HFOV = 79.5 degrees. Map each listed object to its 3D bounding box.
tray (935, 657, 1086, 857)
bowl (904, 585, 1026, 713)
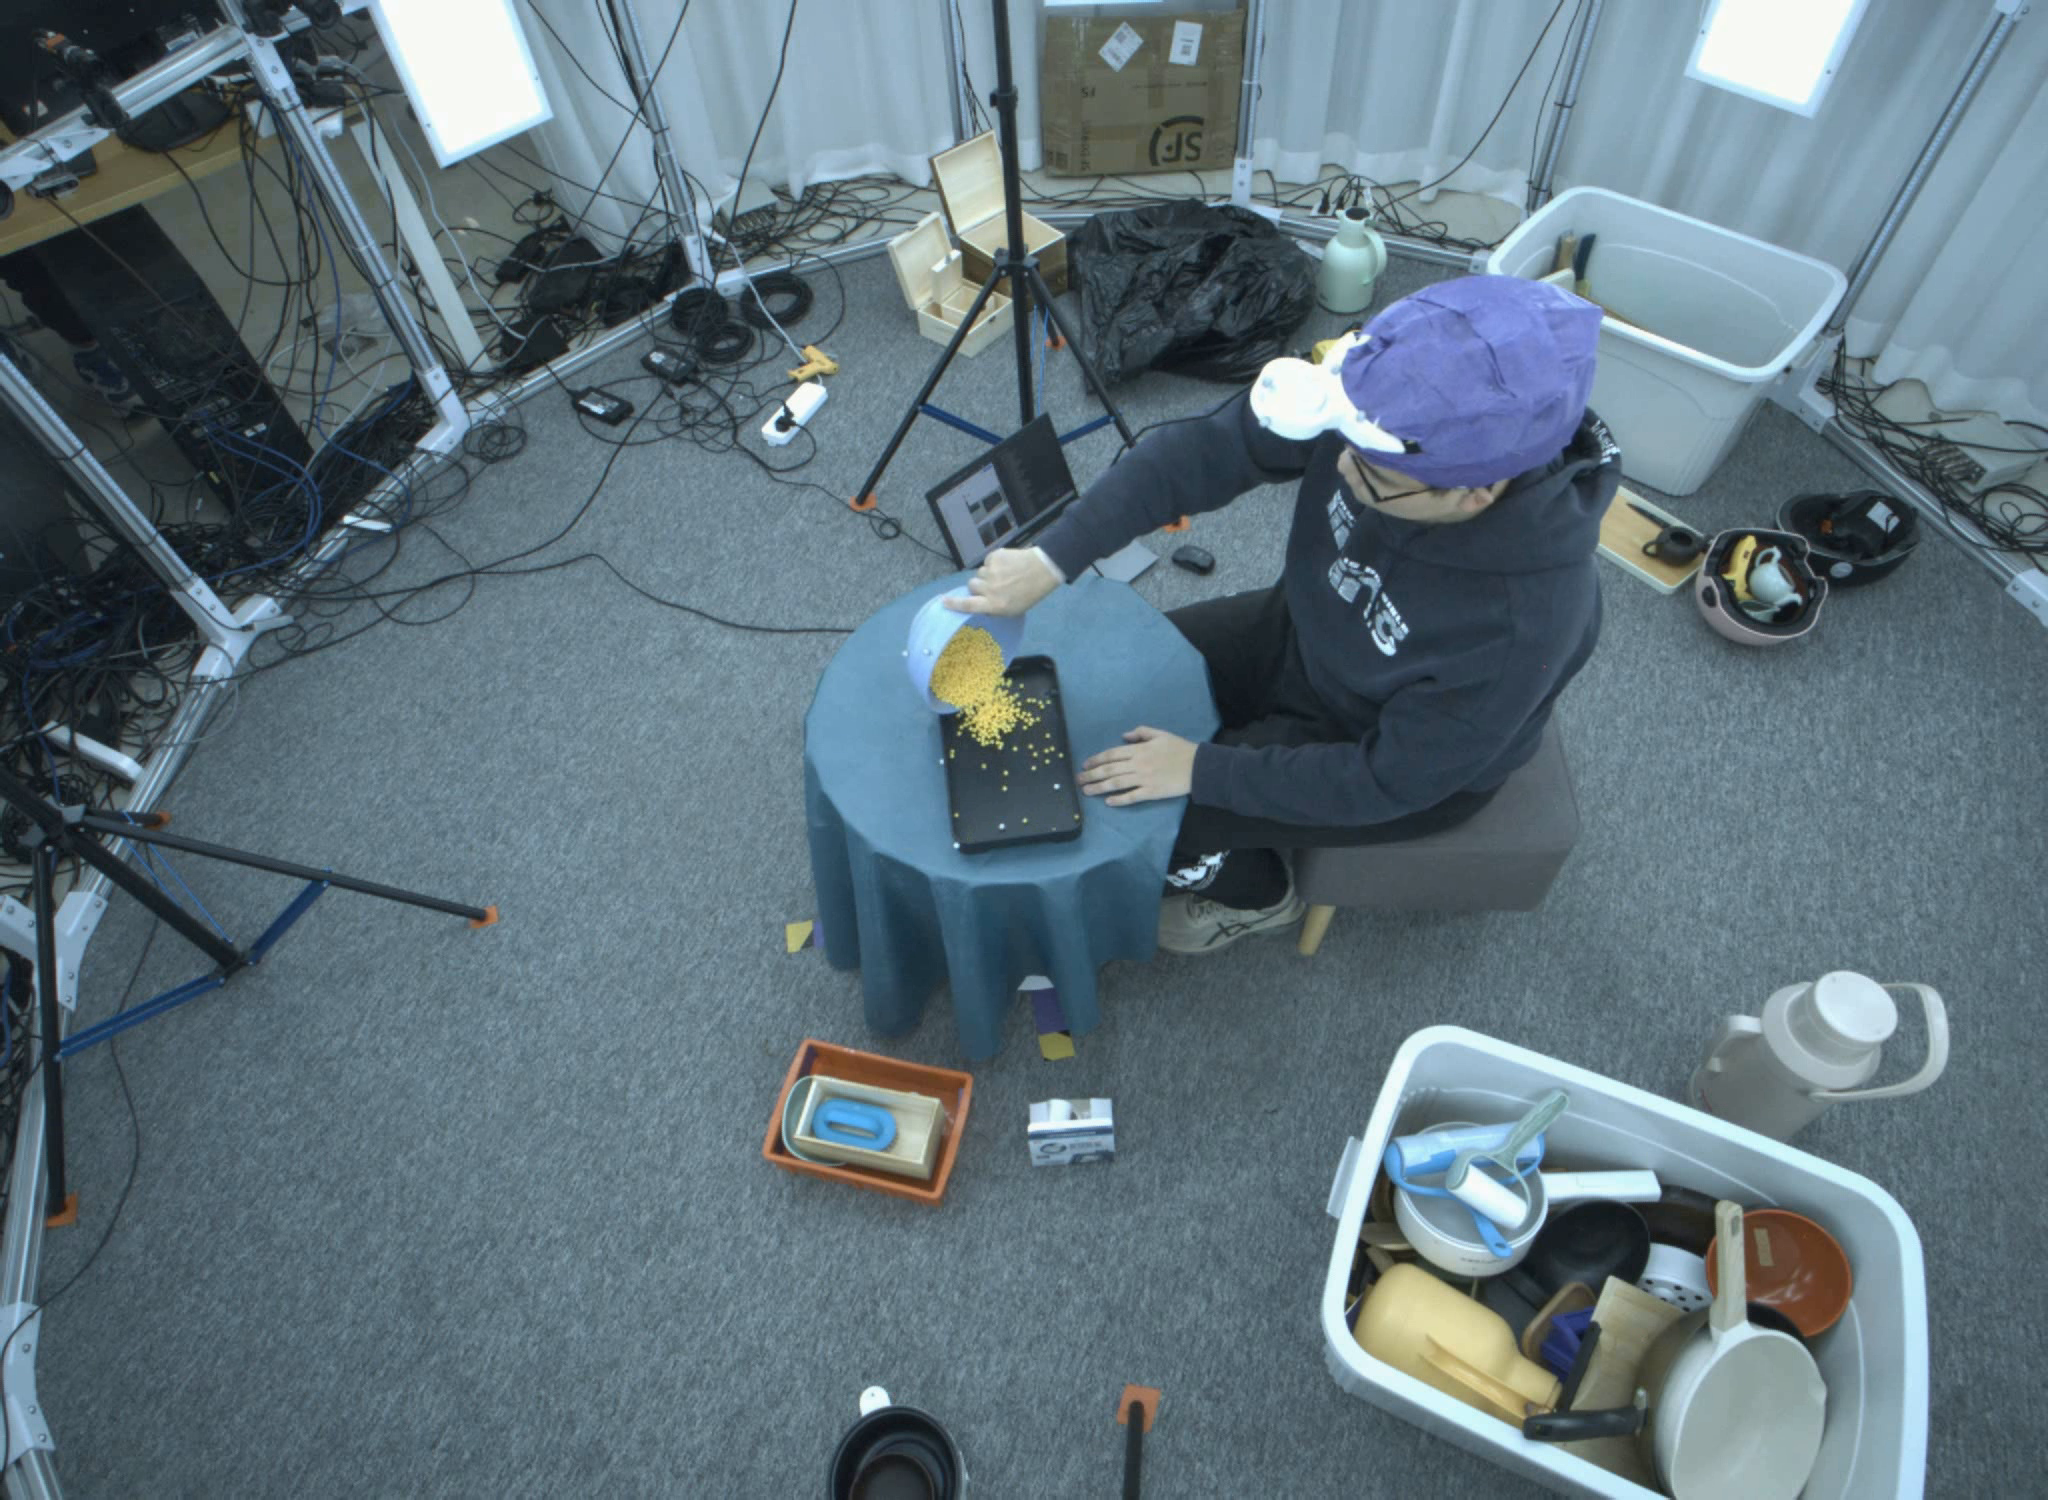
[{"bbox_3d":[-0.025,0.005,1.765,0.185,0.037,0.313,-8,54,-5],"label":"tray"},{"bbox_3d":[-0.099,-0.159,1.733,0.198,0.198,0.094,-40,65,-22],"label":"bowl"}]
